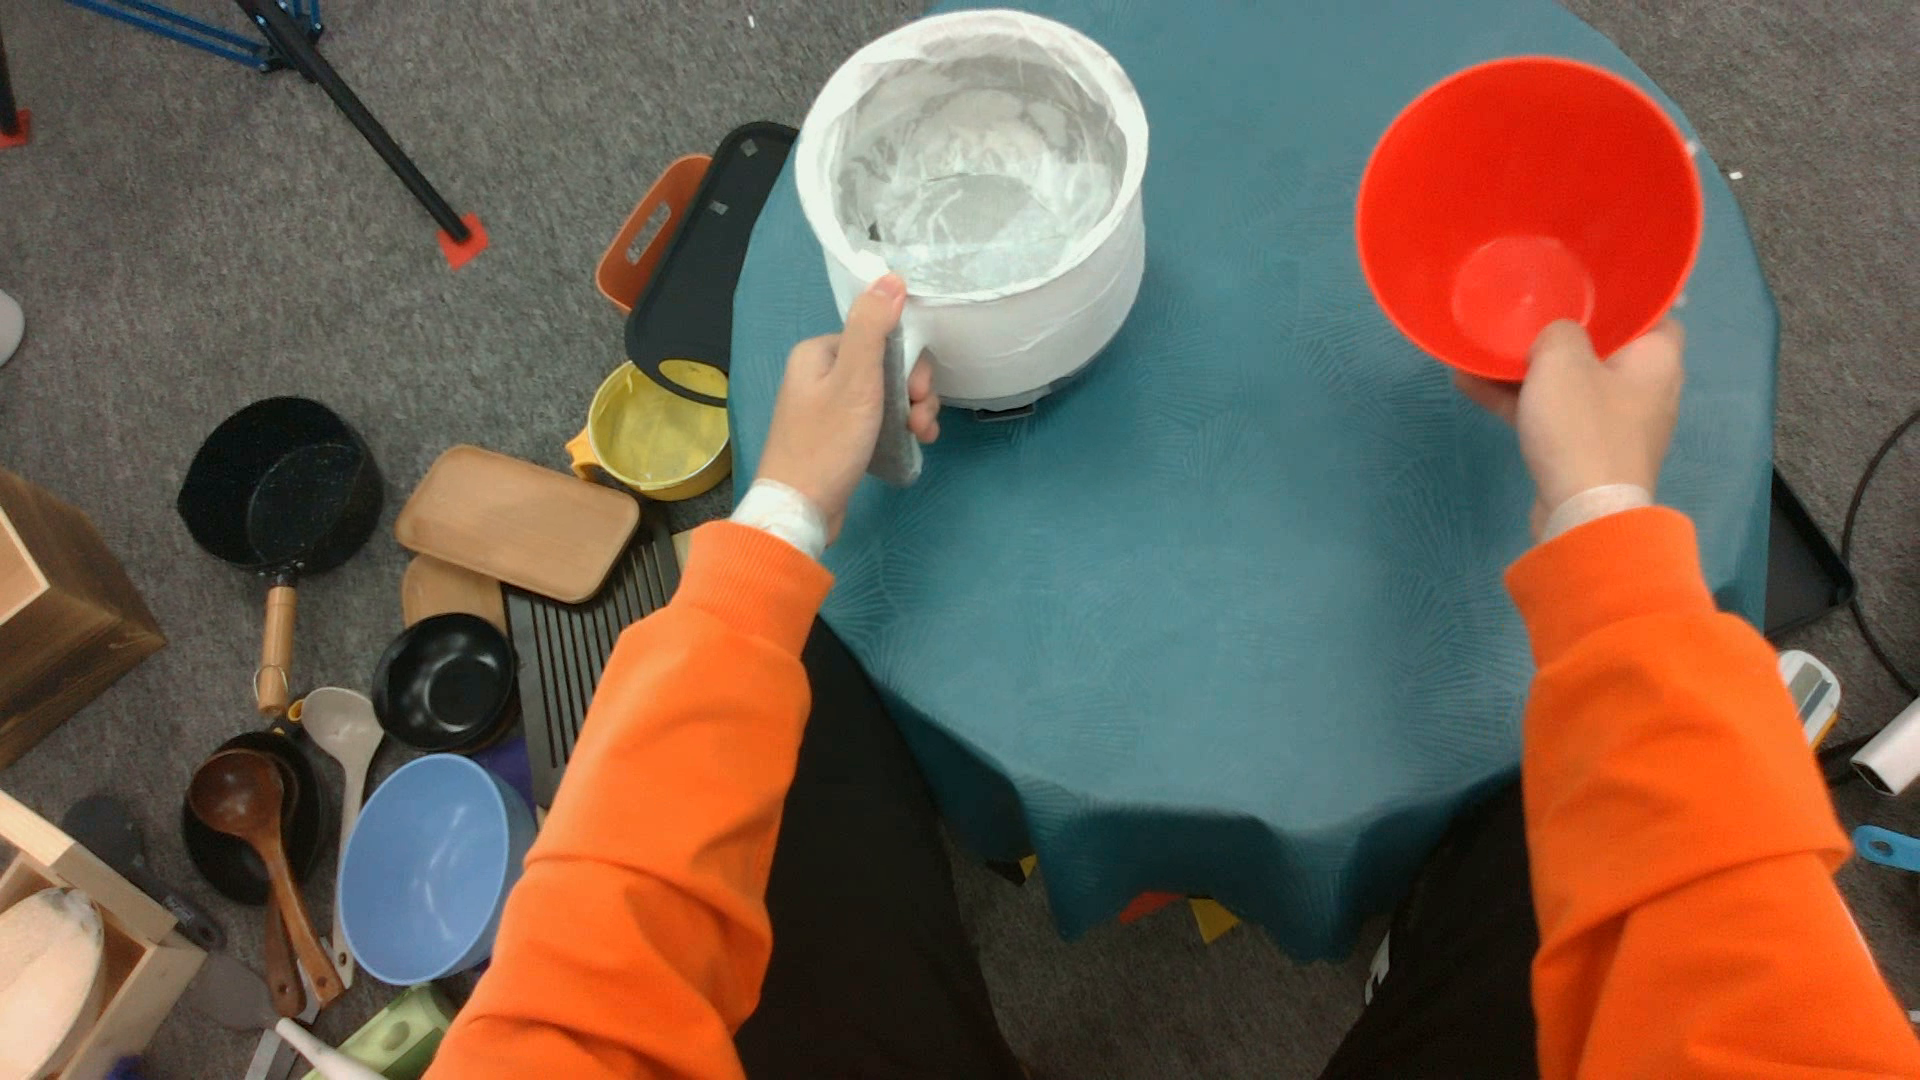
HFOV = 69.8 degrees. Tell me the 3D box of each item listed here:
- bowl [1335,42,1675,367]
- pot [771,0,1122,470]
[{"bbox_3d":[0.262,-0.151,0.674,0.148,0.104,0.148,-2,83,18],"label":"bowl"},{"bbox_3d":[-0.011,-0.156,0.737,0.178,0.136,0.234,18,71,13],"label":"pot"}]
